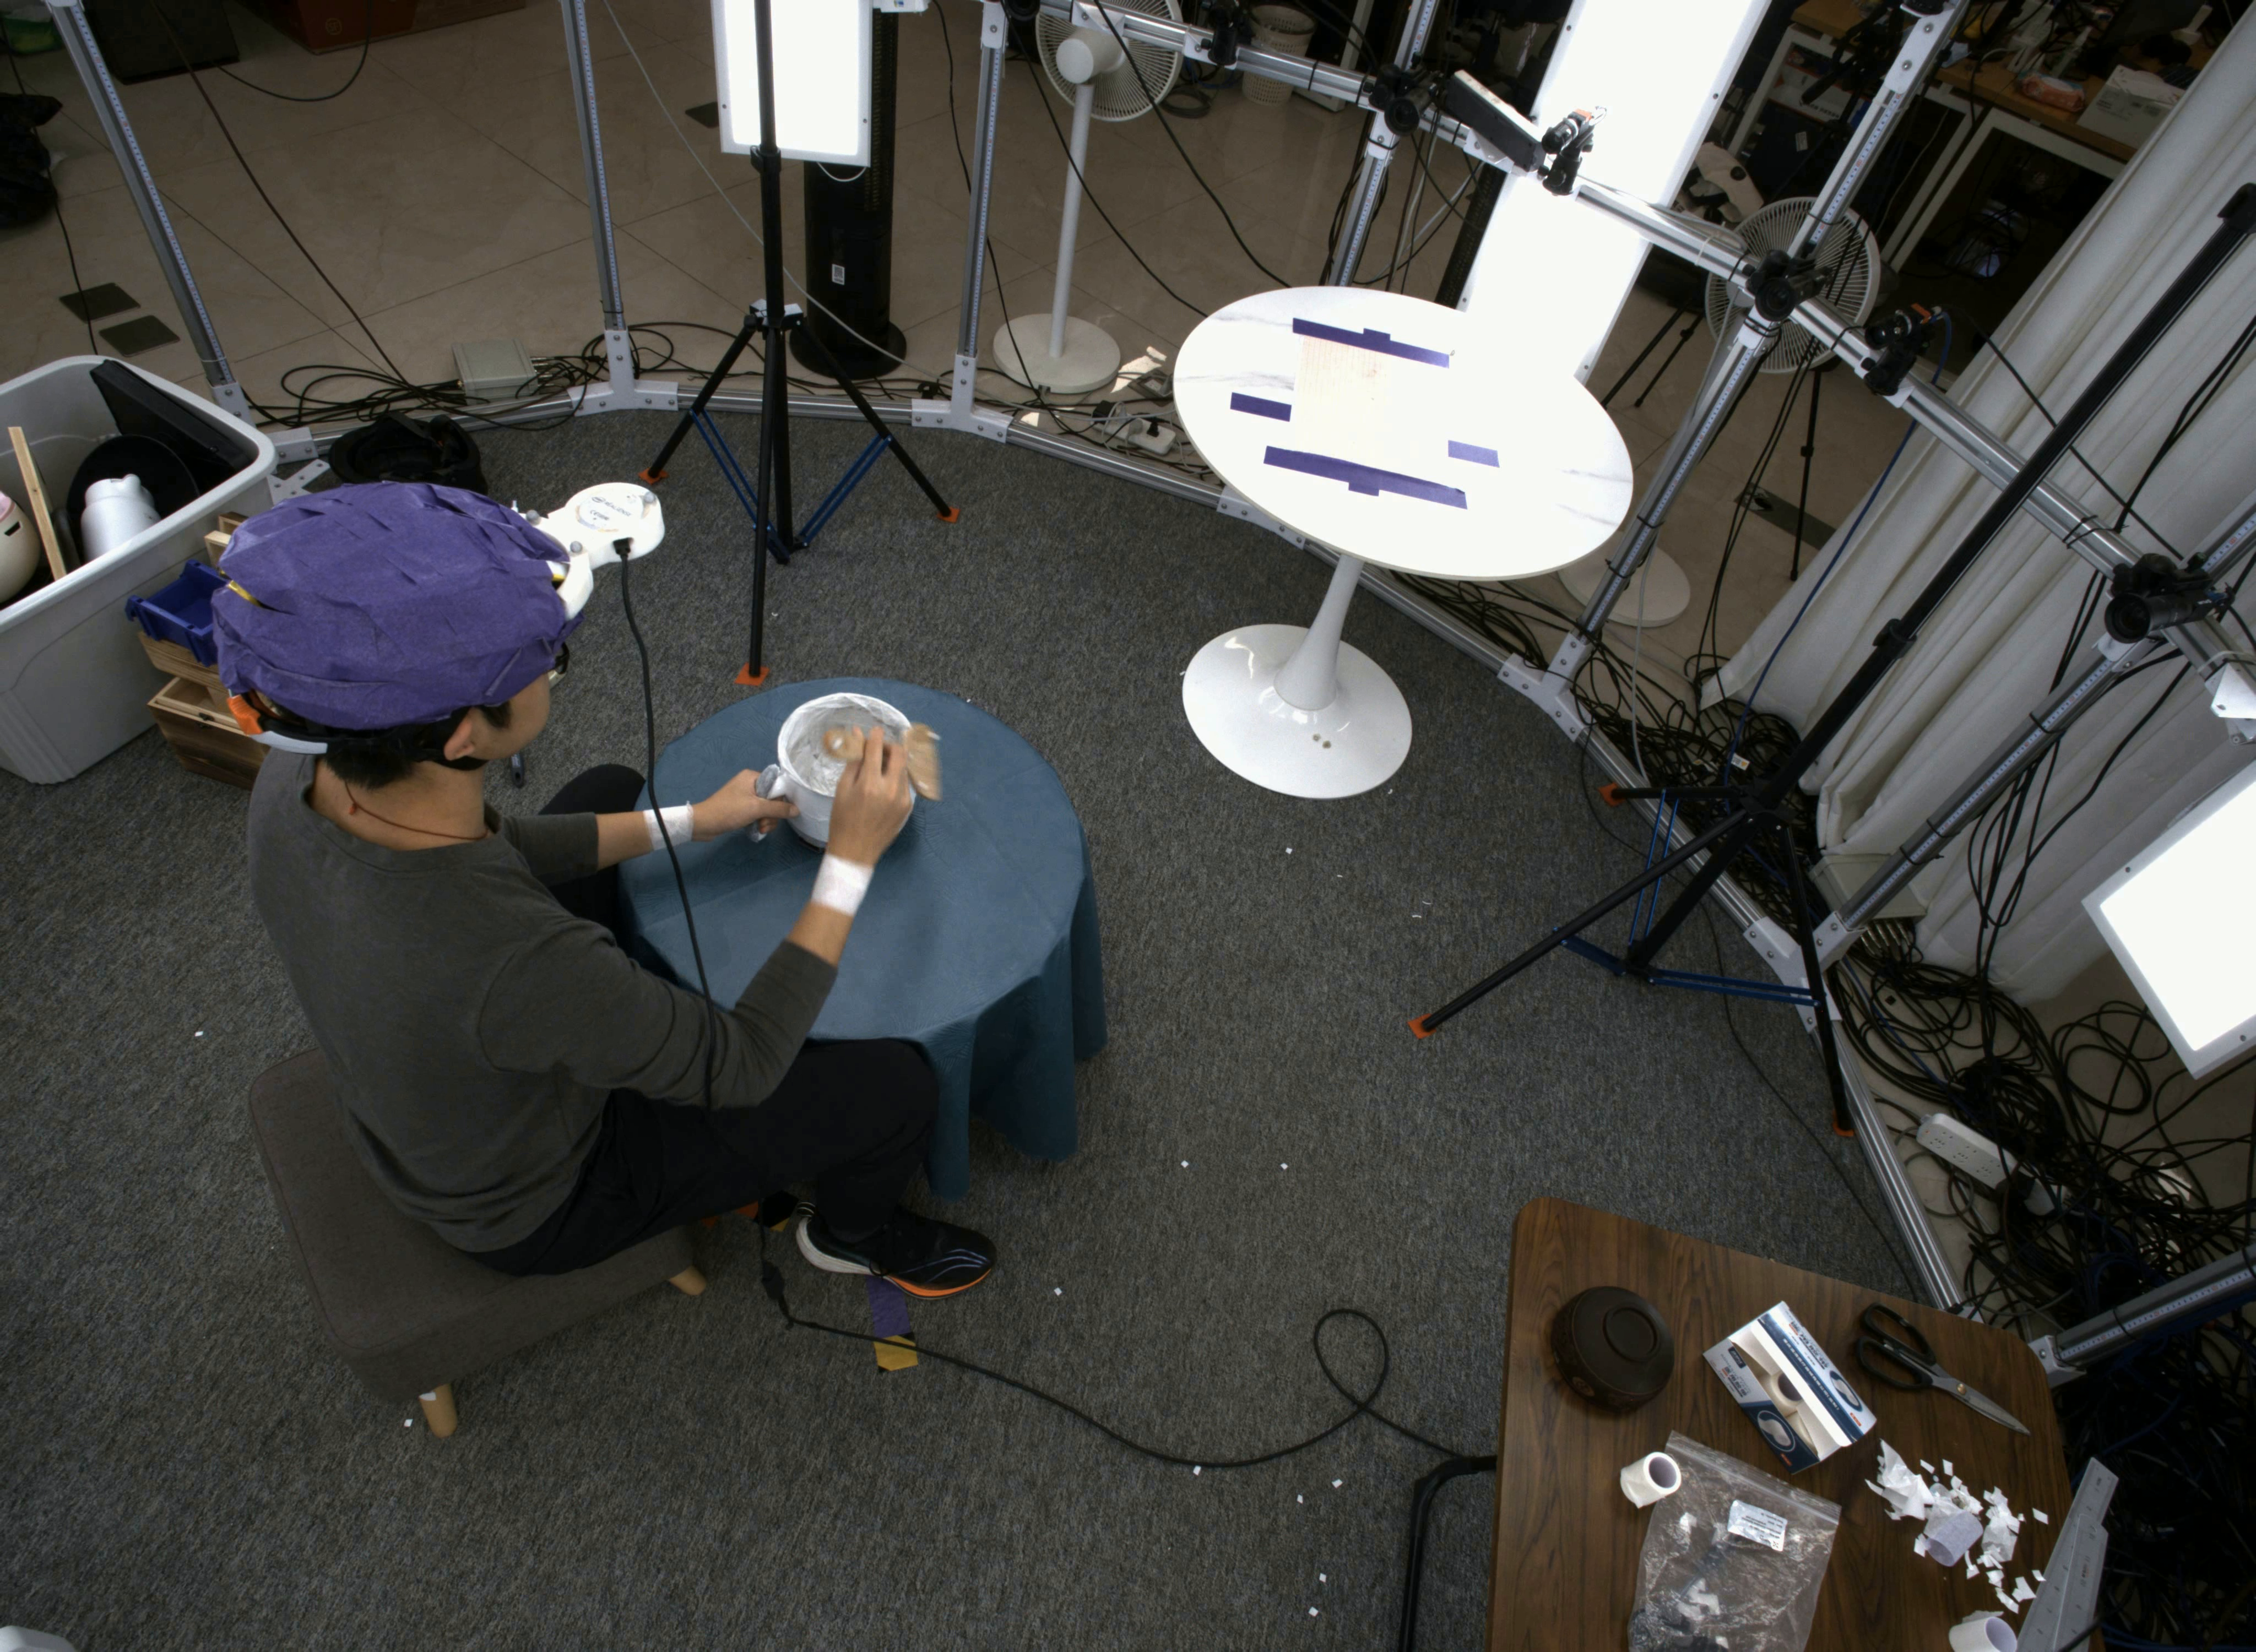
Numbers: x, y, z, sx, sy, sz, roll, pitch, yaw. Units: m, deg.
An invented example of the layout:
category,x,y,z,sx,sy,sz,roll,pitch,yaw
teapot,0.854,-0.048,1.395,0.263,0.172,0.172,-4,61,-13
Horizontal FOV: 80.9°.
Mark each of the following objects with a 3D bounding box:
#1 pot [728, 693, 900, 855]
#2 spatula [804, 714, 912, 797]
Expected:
category,x,y,z,sx,sy,sz,roll,pitch,yaw
pot,-0.410,-0.055,1.691,0.235,0.139,0.174,-25,62,-28
spatula,-0.289,-0.085,1.417,0.018,0.391,0.097,-10,89,2
